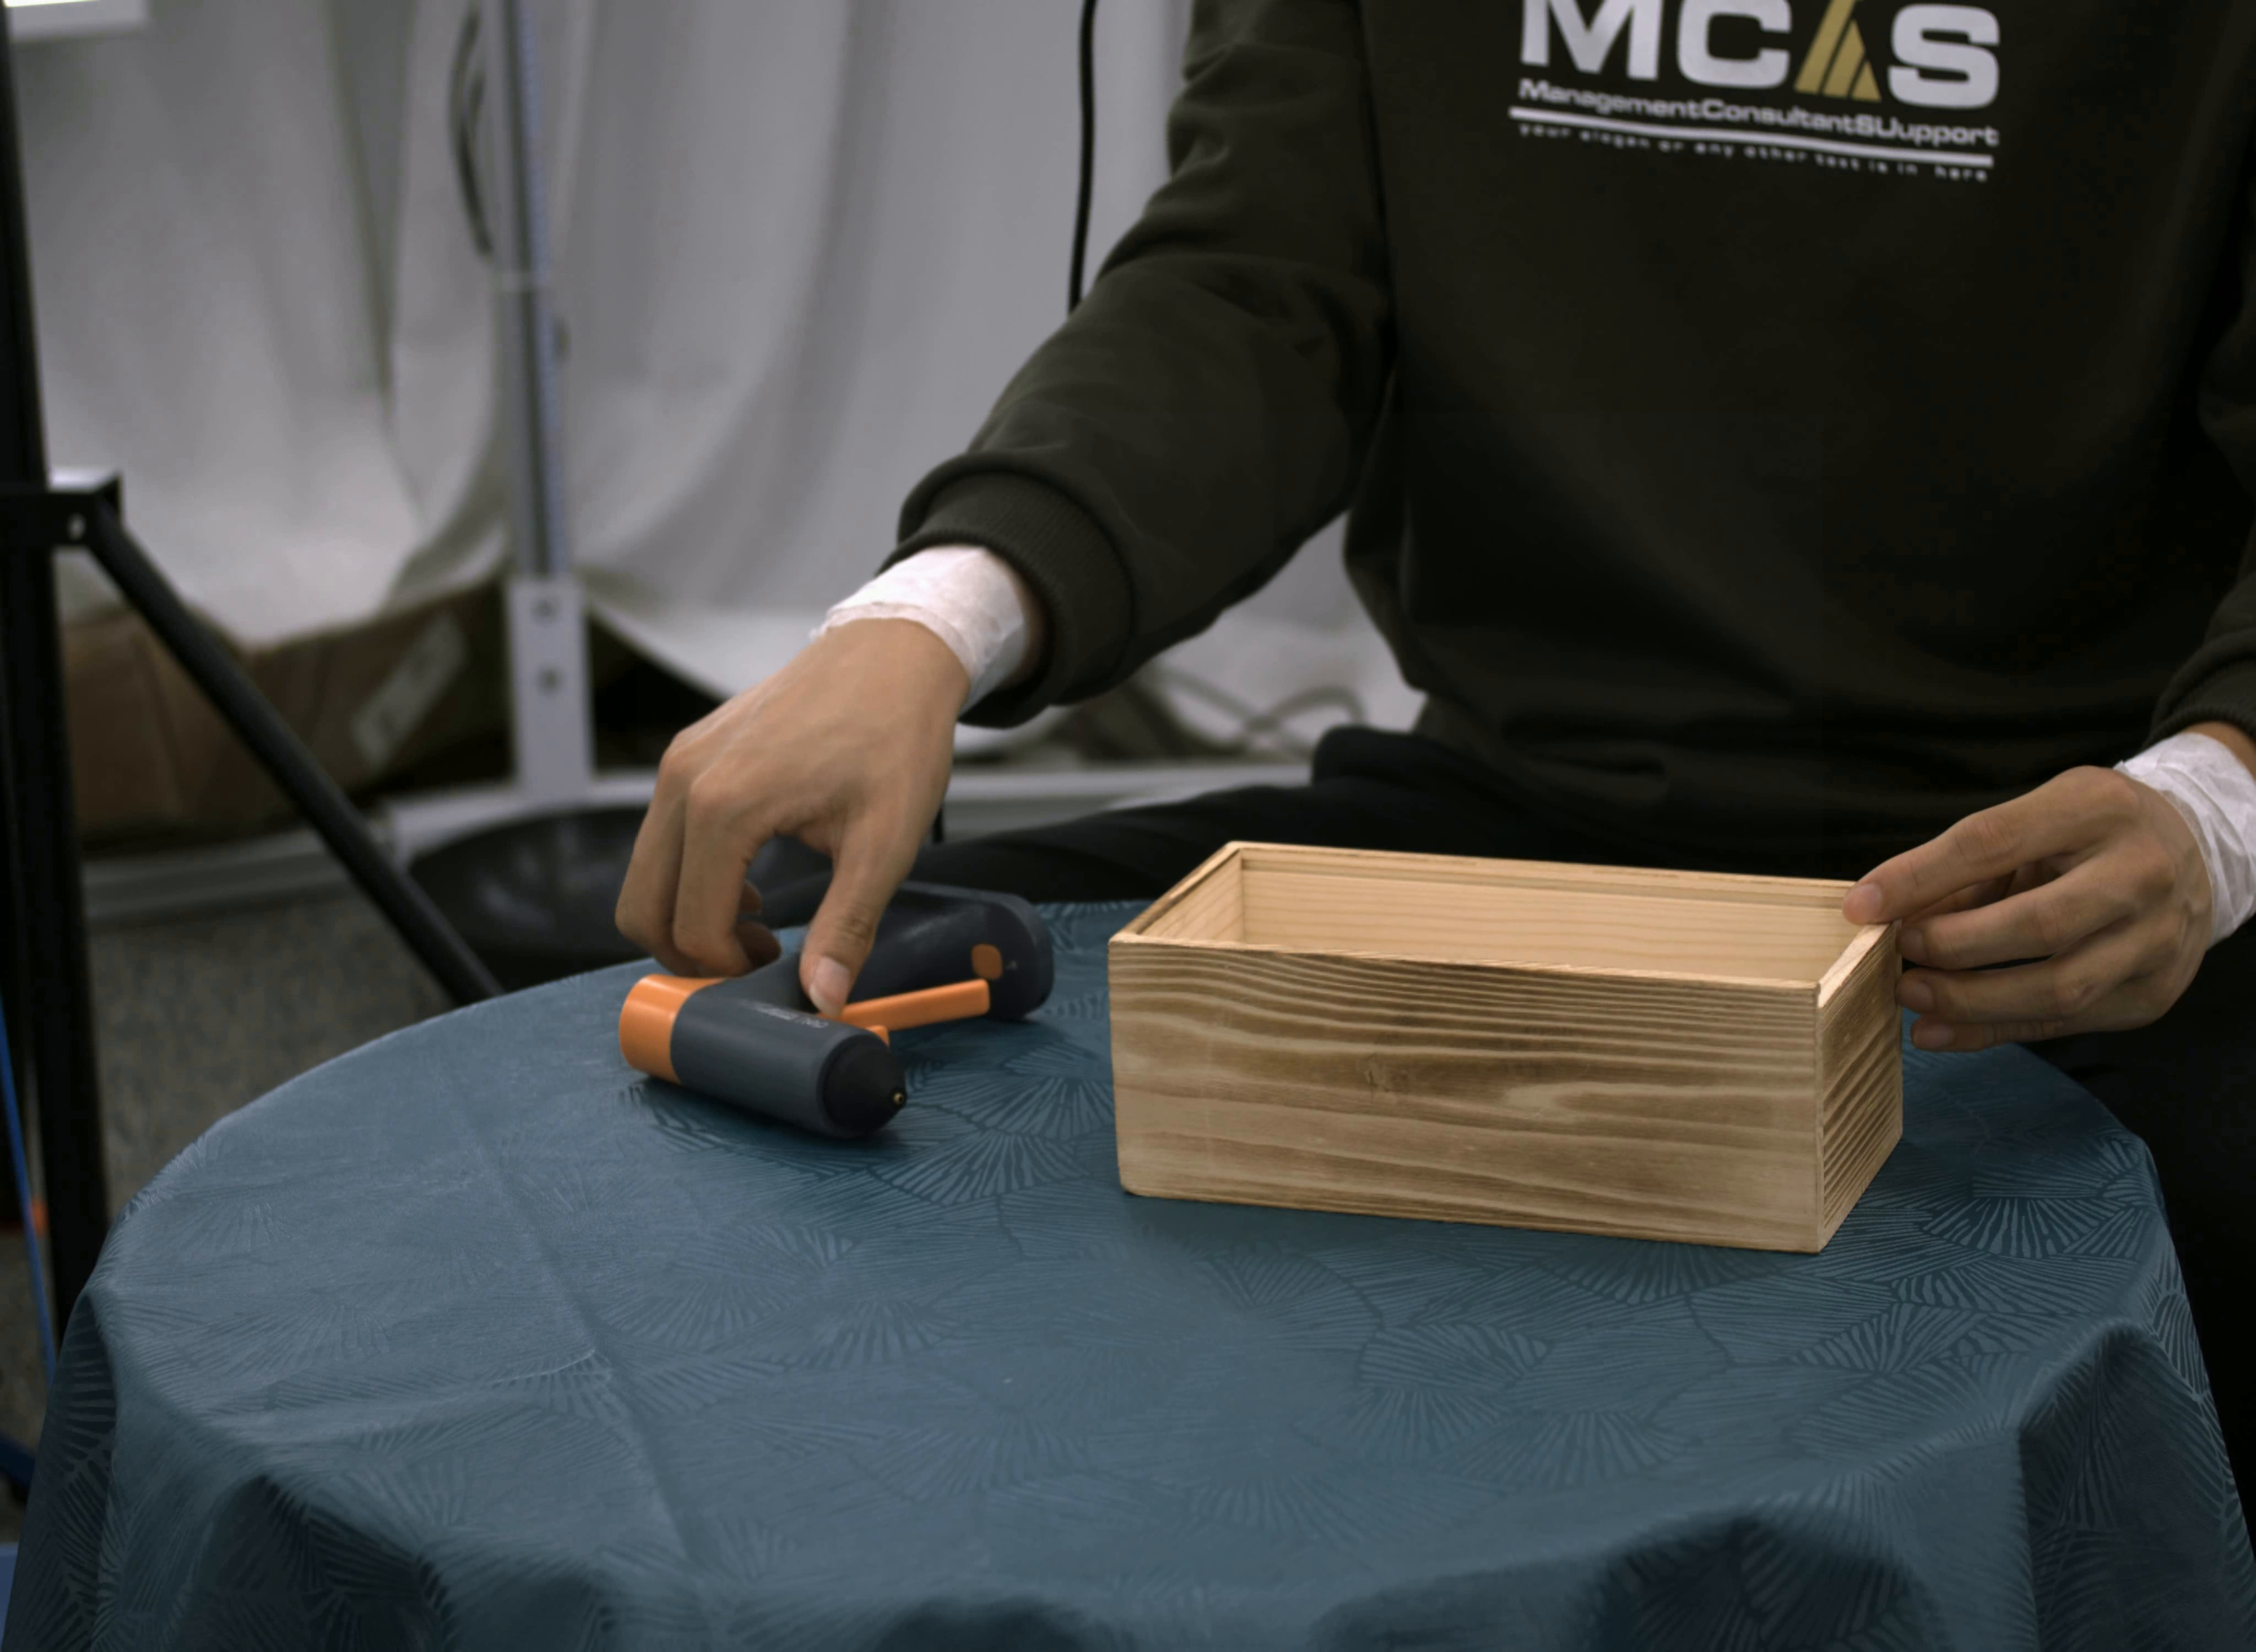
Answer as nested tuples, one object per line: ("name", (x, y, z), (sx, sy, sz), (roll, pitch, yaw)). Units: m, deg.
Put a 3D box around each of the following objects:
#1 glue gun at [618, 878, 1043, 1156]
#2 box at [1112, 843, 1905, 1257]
("glue gun", (-0.087, 0.062, 1.677), (0.120, 0.041, 0.137), (12, 23, 29))
("box", (0.112, 0.063, 1.552), (0.214, 0.080, 0.106), (4, 16, 22))
